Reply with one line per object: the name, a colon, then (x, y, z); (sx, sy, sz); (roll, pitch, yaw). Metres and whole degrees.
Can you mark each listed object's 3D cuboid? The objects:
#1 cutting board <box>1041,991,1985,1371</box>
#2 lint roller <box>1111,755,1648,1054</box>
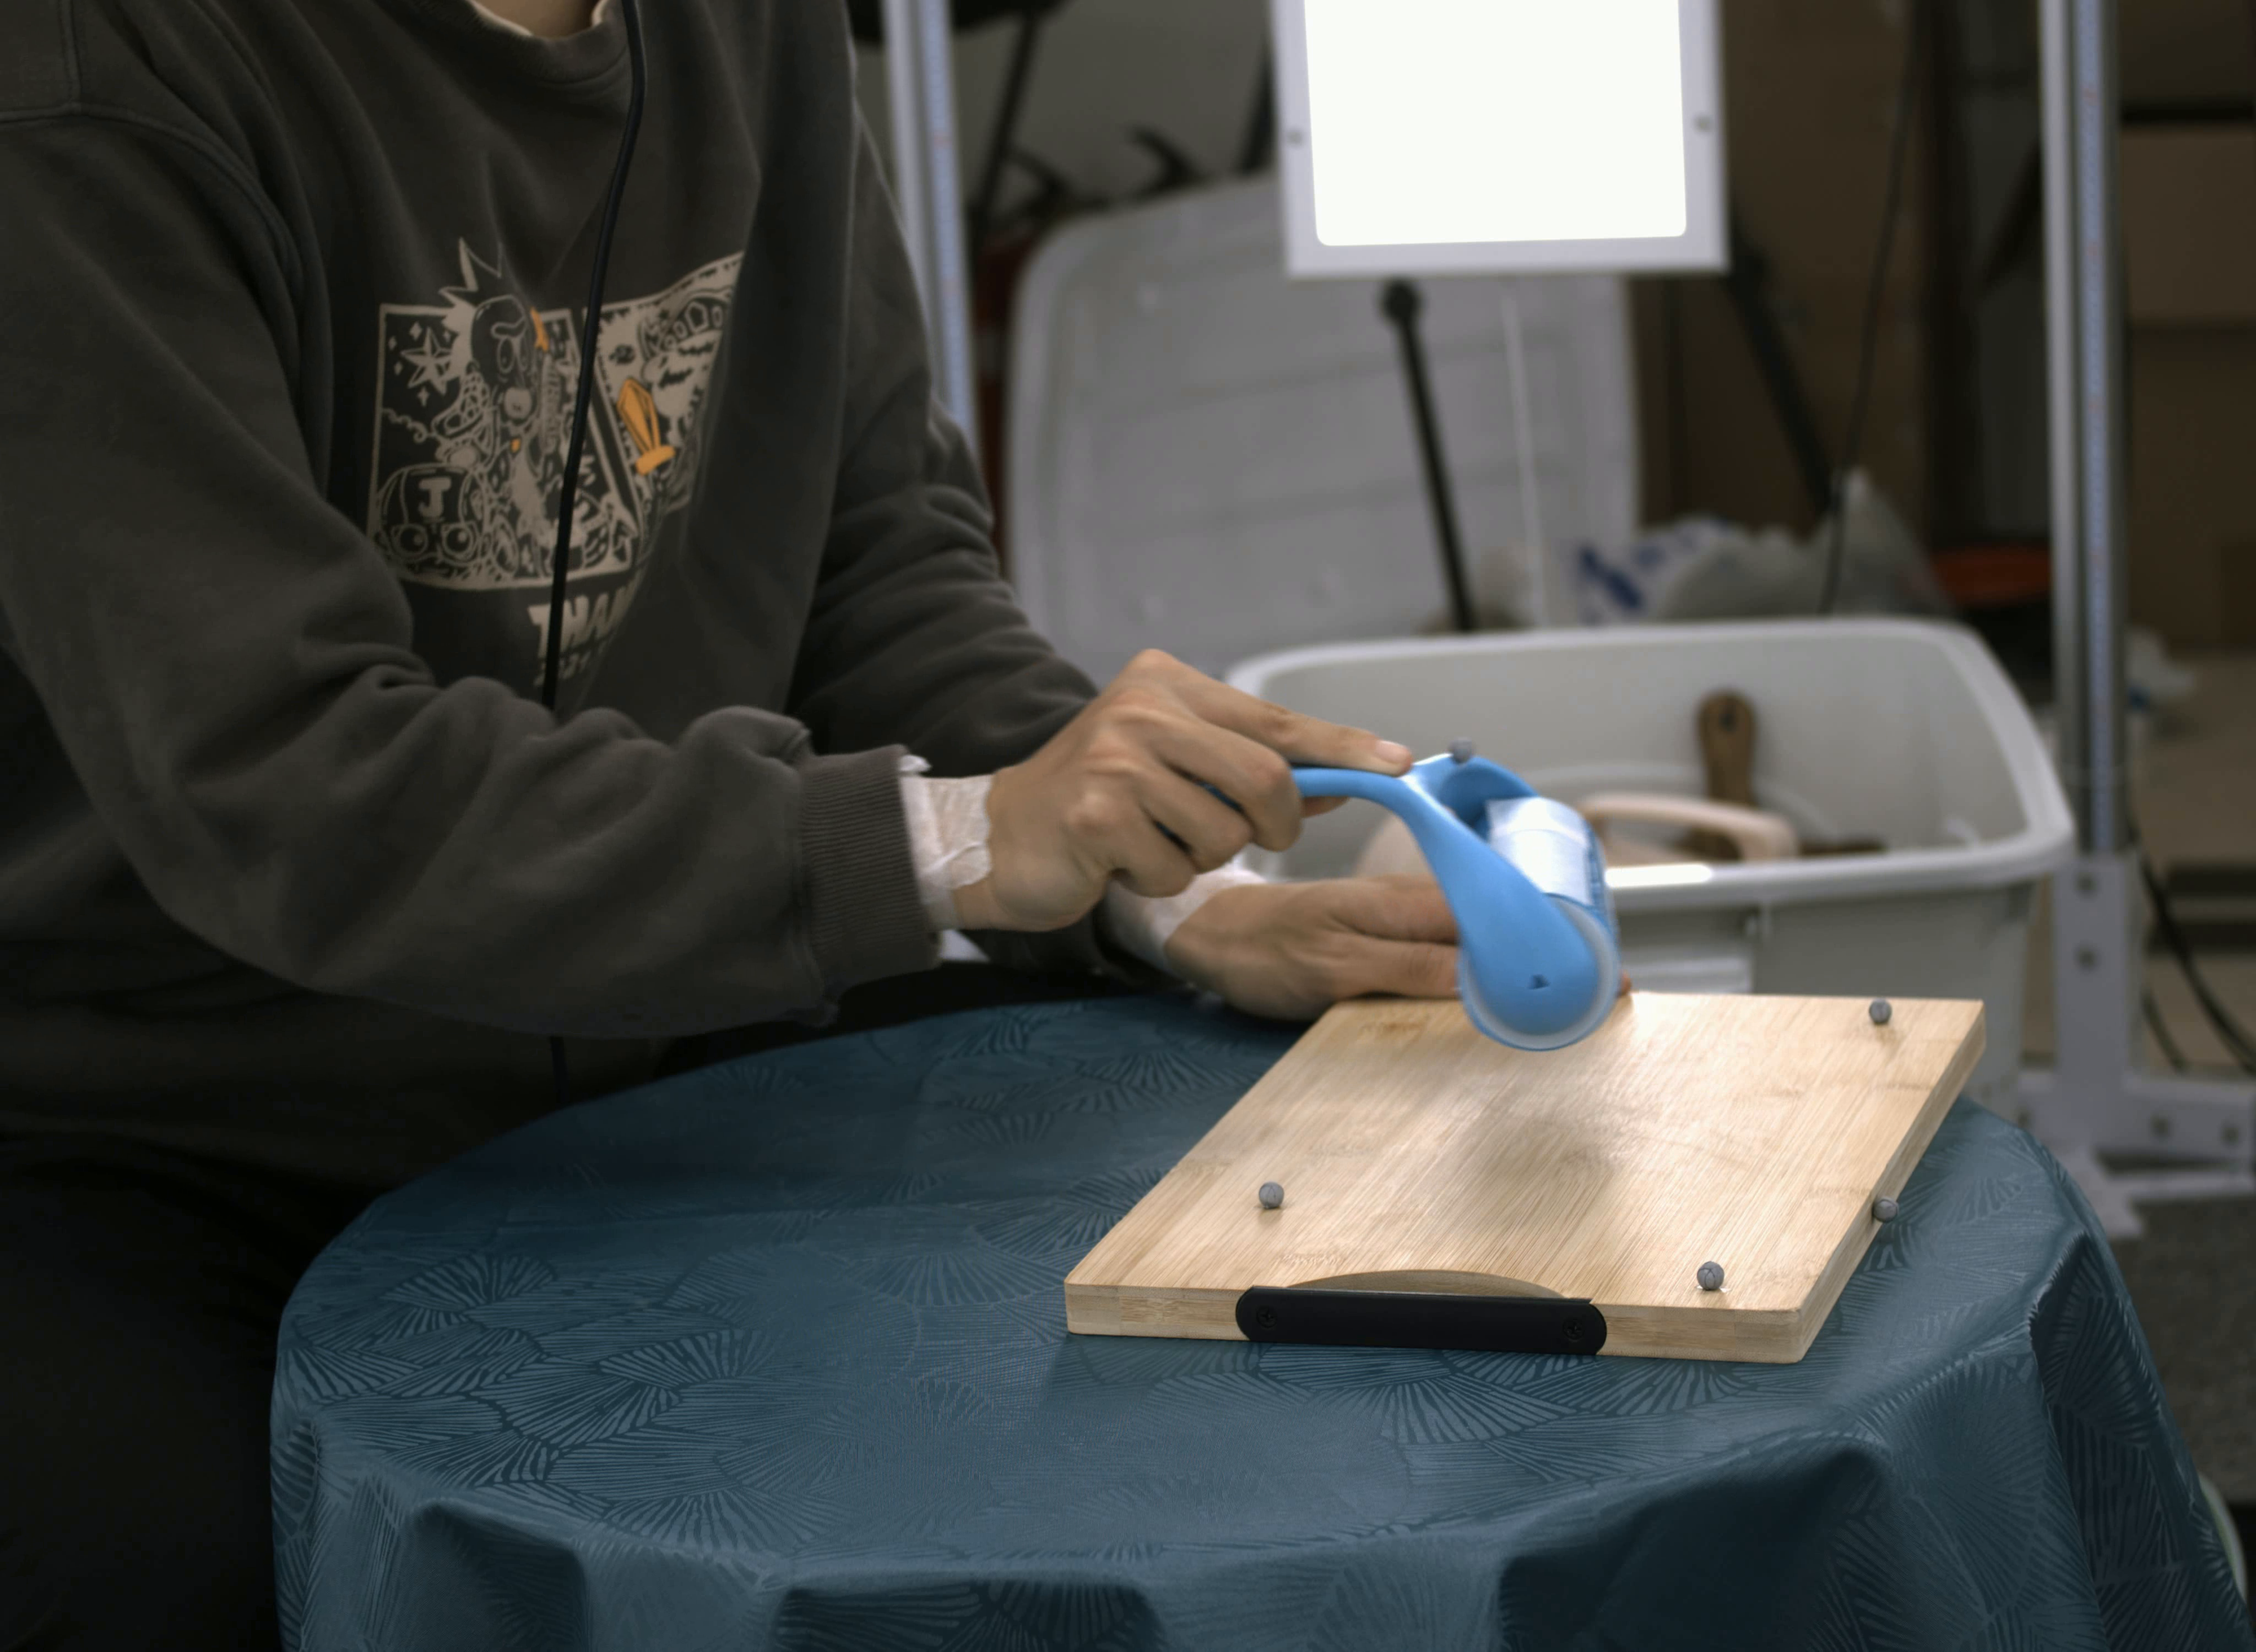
cutting board: (0.142, 0.115, 1.860); (0.254, 0.023, 0.343); (-1, 14, 19)
lint roller: (0.089, 0.012, 1.870); (0.179, 0.068, 0.228); (18, 11, -2)
